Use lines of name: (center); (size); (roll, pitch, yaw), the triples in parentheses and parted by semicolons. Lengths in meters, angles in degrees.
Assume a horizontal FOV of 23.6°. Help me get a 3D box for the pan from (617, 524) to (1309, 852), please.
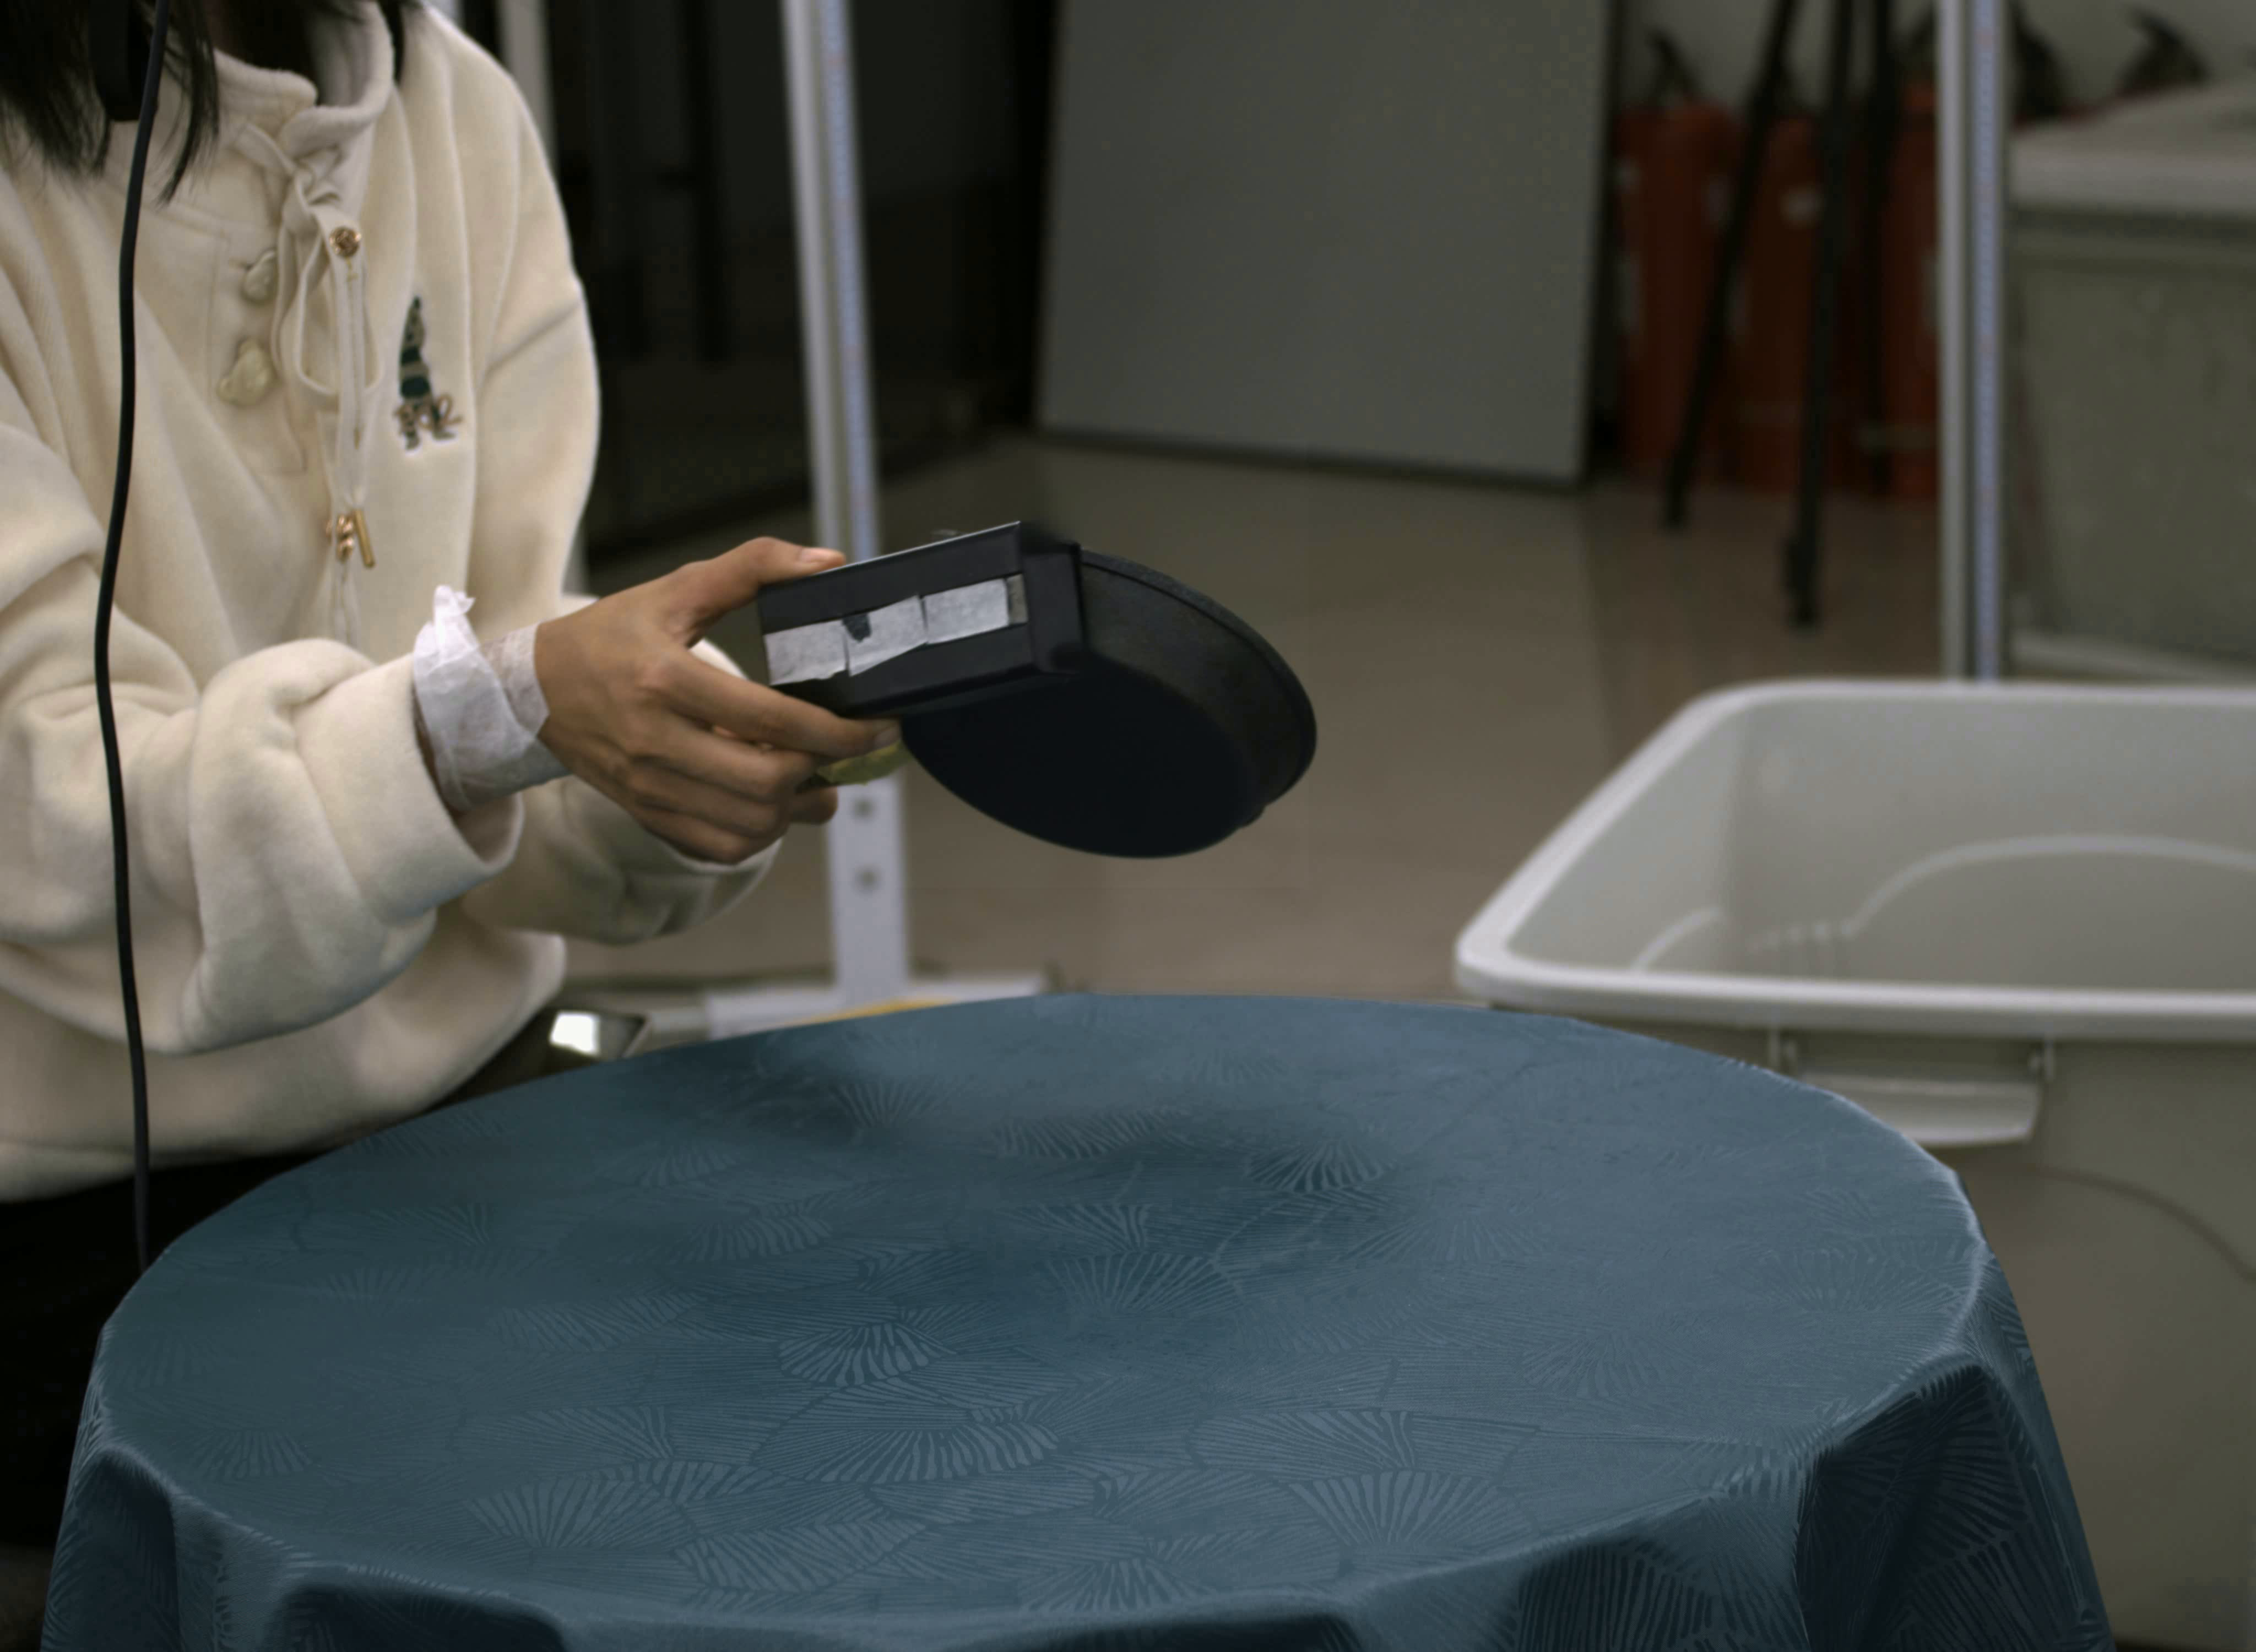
pan: (-0.073, -0.030, 1.871); (0.327, 0.166, 0.050); (-15, 45, 46)

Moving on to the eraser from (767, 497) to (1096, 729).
eraser: (-0.064, -0.068, 1.751); (0.126, 0.054, 0.030); (-12, -8, 43)
